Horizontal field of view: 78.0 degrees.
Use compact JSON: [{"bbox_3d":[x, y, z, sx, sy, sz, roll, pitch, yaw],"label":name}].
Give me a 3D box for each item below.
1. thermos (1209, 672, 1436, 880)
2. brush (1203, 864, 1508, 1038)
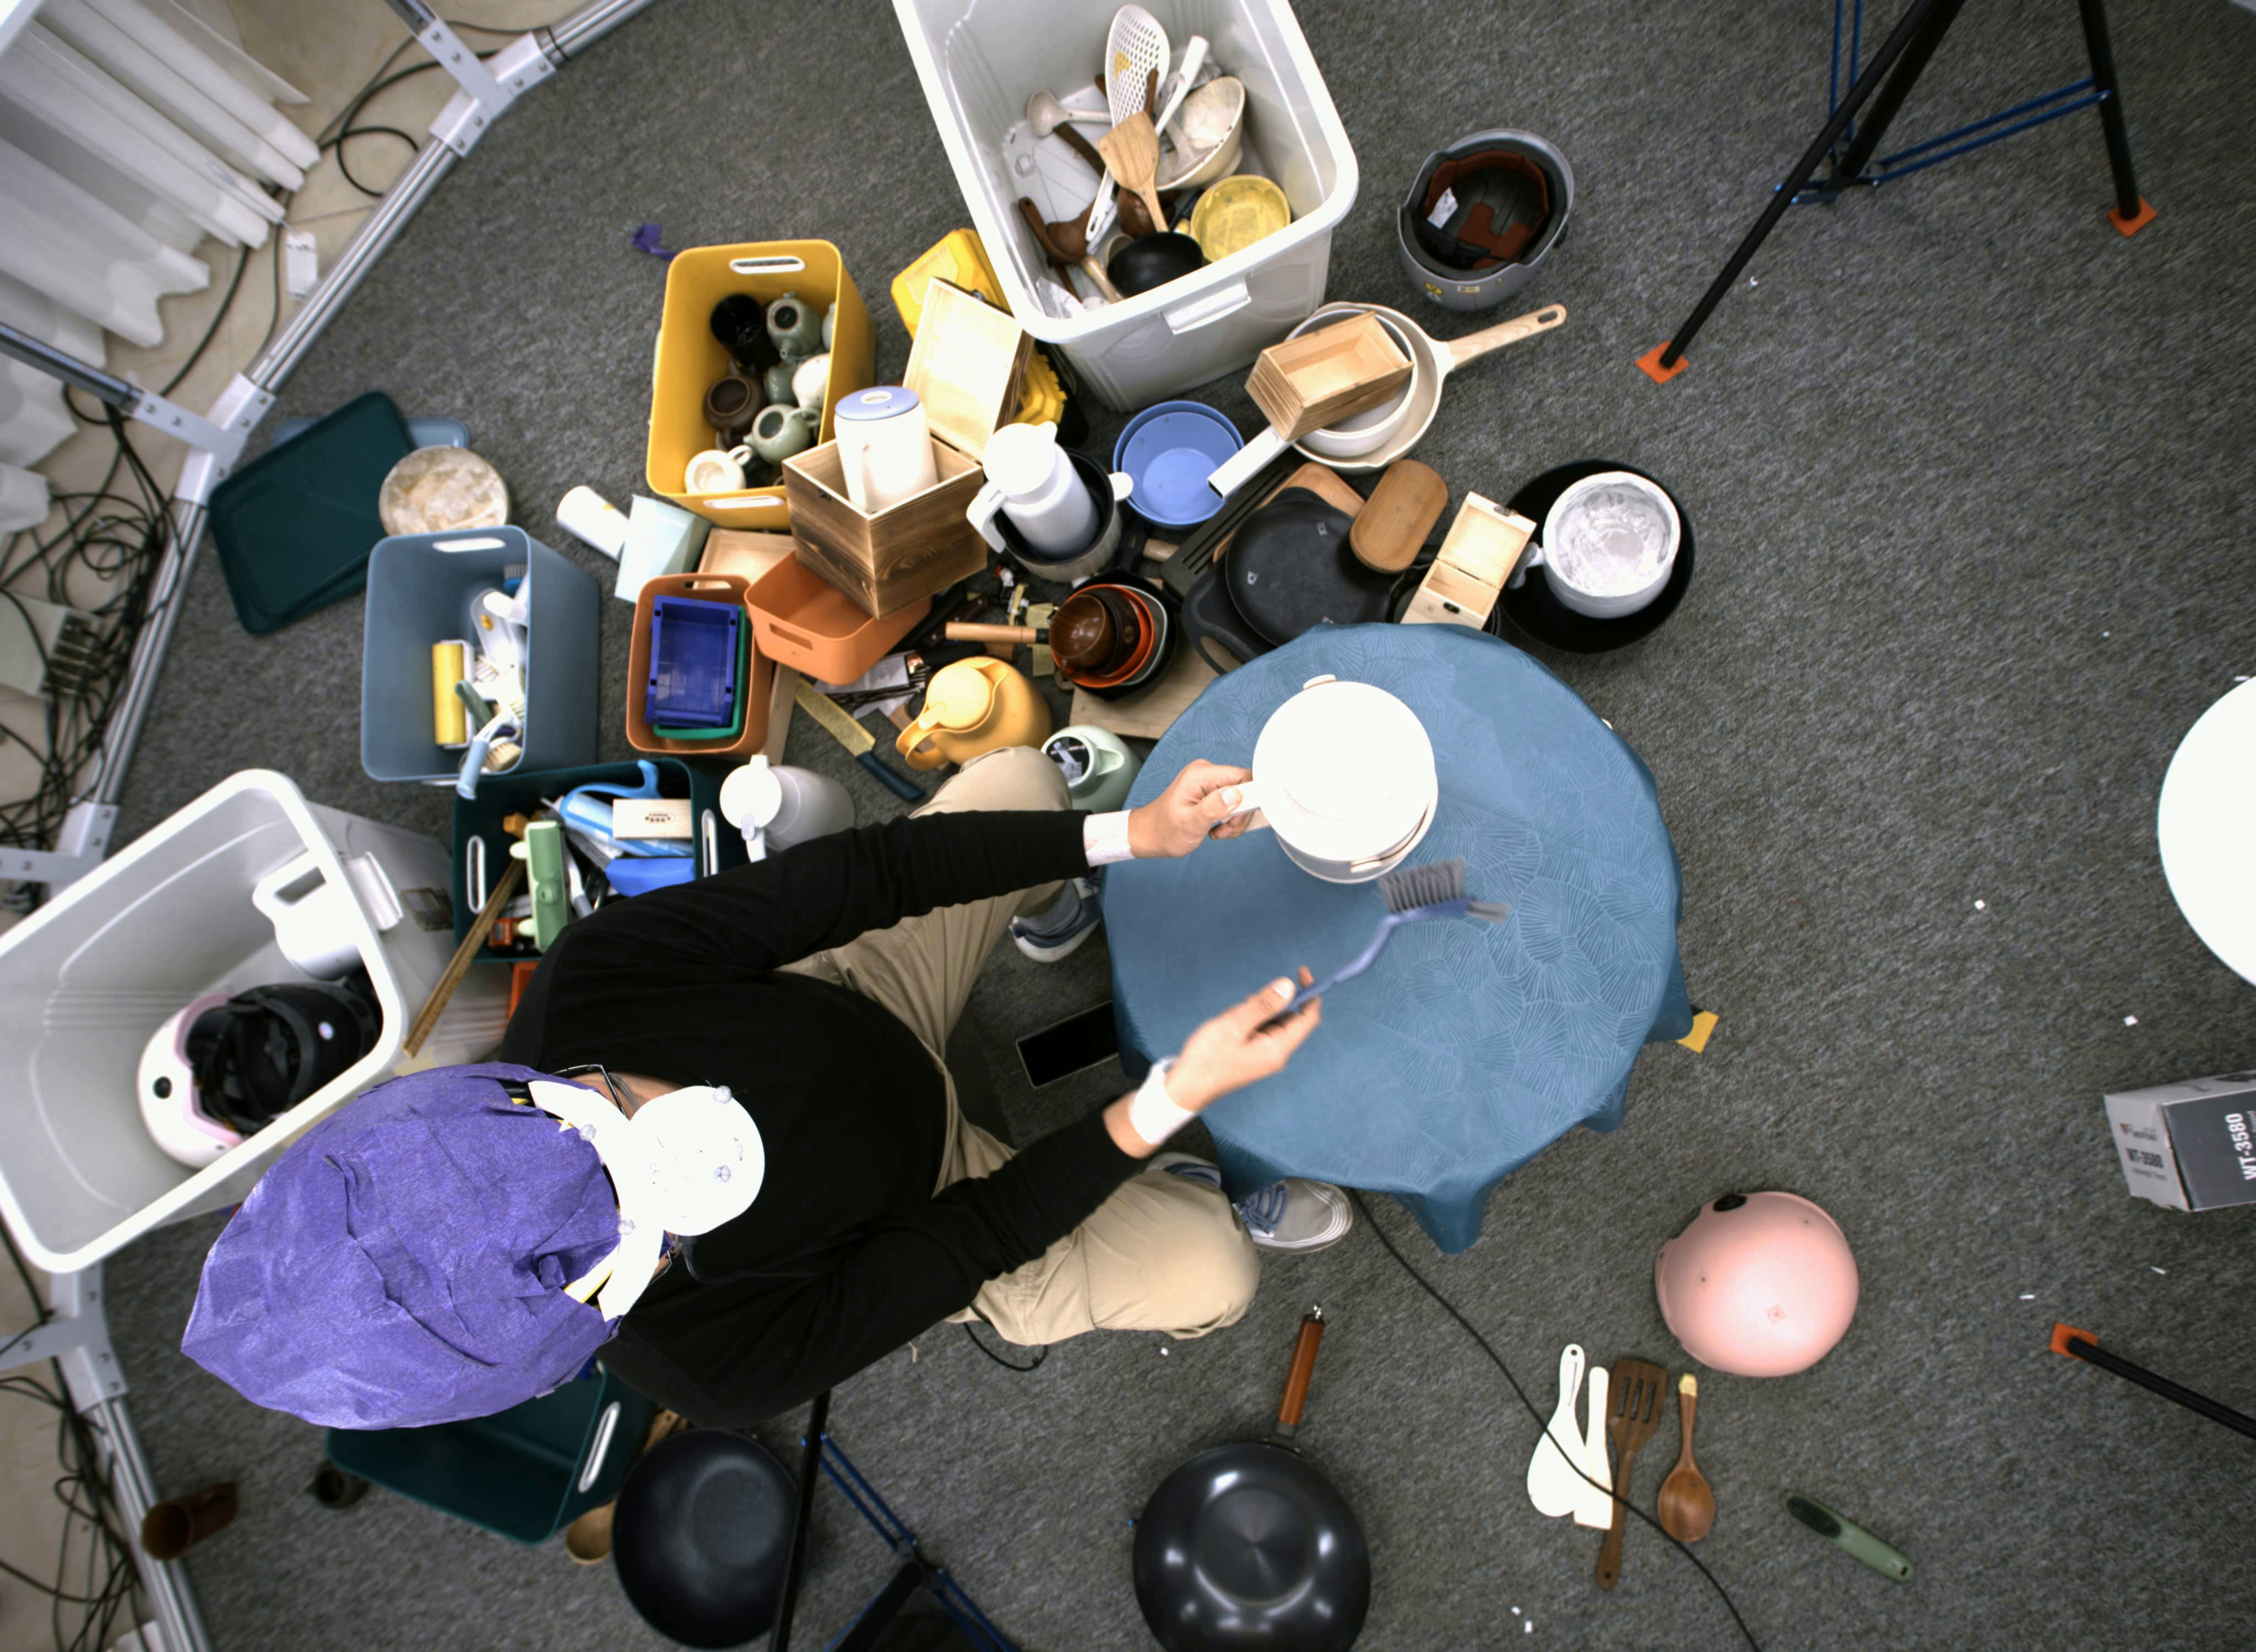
[{"bbox_3d":[0.185,-0.039,1.281,0.208,0.406,0.174,-15,84,8],"label":"thermos"},{"bbox_3d":[0.188,0.124,1.183,0.277,0.033,0.095,-40,78,20],"label":"brush"}]
